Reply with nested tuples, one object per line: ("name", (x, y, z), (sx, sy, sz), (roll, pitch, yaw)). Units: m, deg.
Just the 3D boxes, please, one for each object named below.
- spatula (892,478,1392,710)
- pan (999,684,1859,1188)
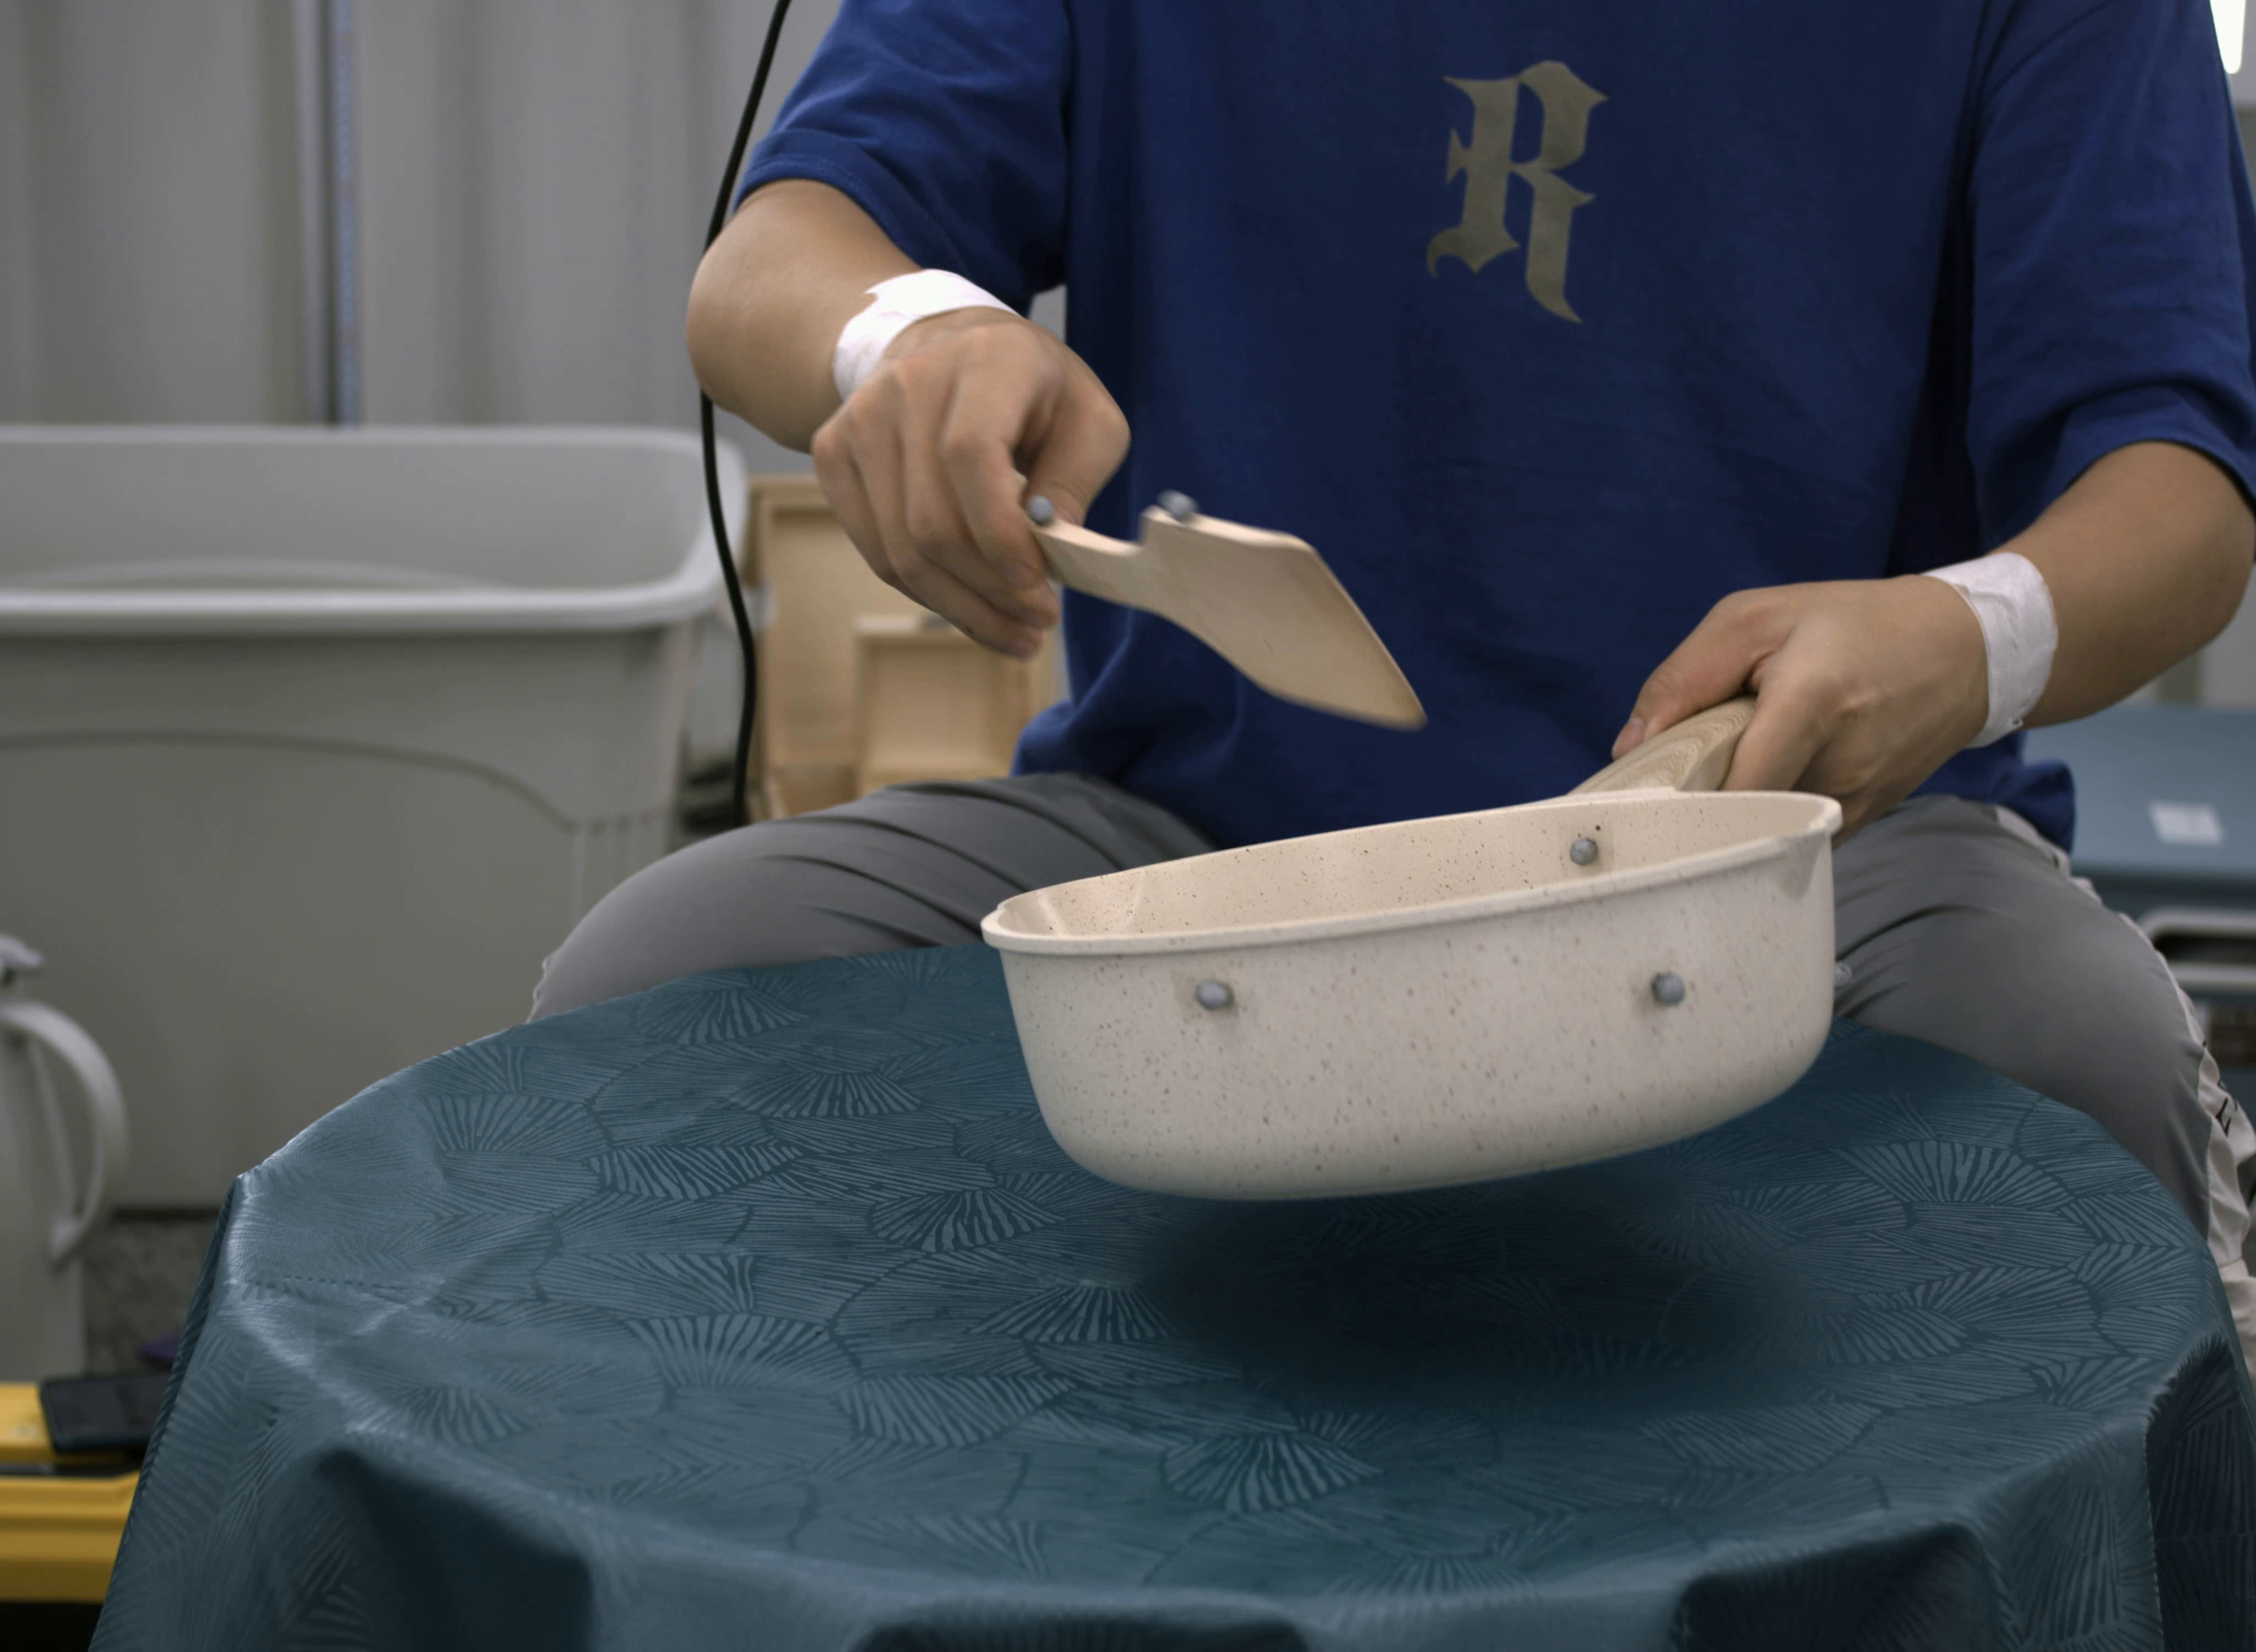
("spatula", (-0.008, -0.081, 1.588), (0.010, 0.073, 0.290), (-41, 24, -14))
("pan", (0.135, 0.028, 1.604), (0.261, 0.102, 0.437), (-8, 3, 29))
